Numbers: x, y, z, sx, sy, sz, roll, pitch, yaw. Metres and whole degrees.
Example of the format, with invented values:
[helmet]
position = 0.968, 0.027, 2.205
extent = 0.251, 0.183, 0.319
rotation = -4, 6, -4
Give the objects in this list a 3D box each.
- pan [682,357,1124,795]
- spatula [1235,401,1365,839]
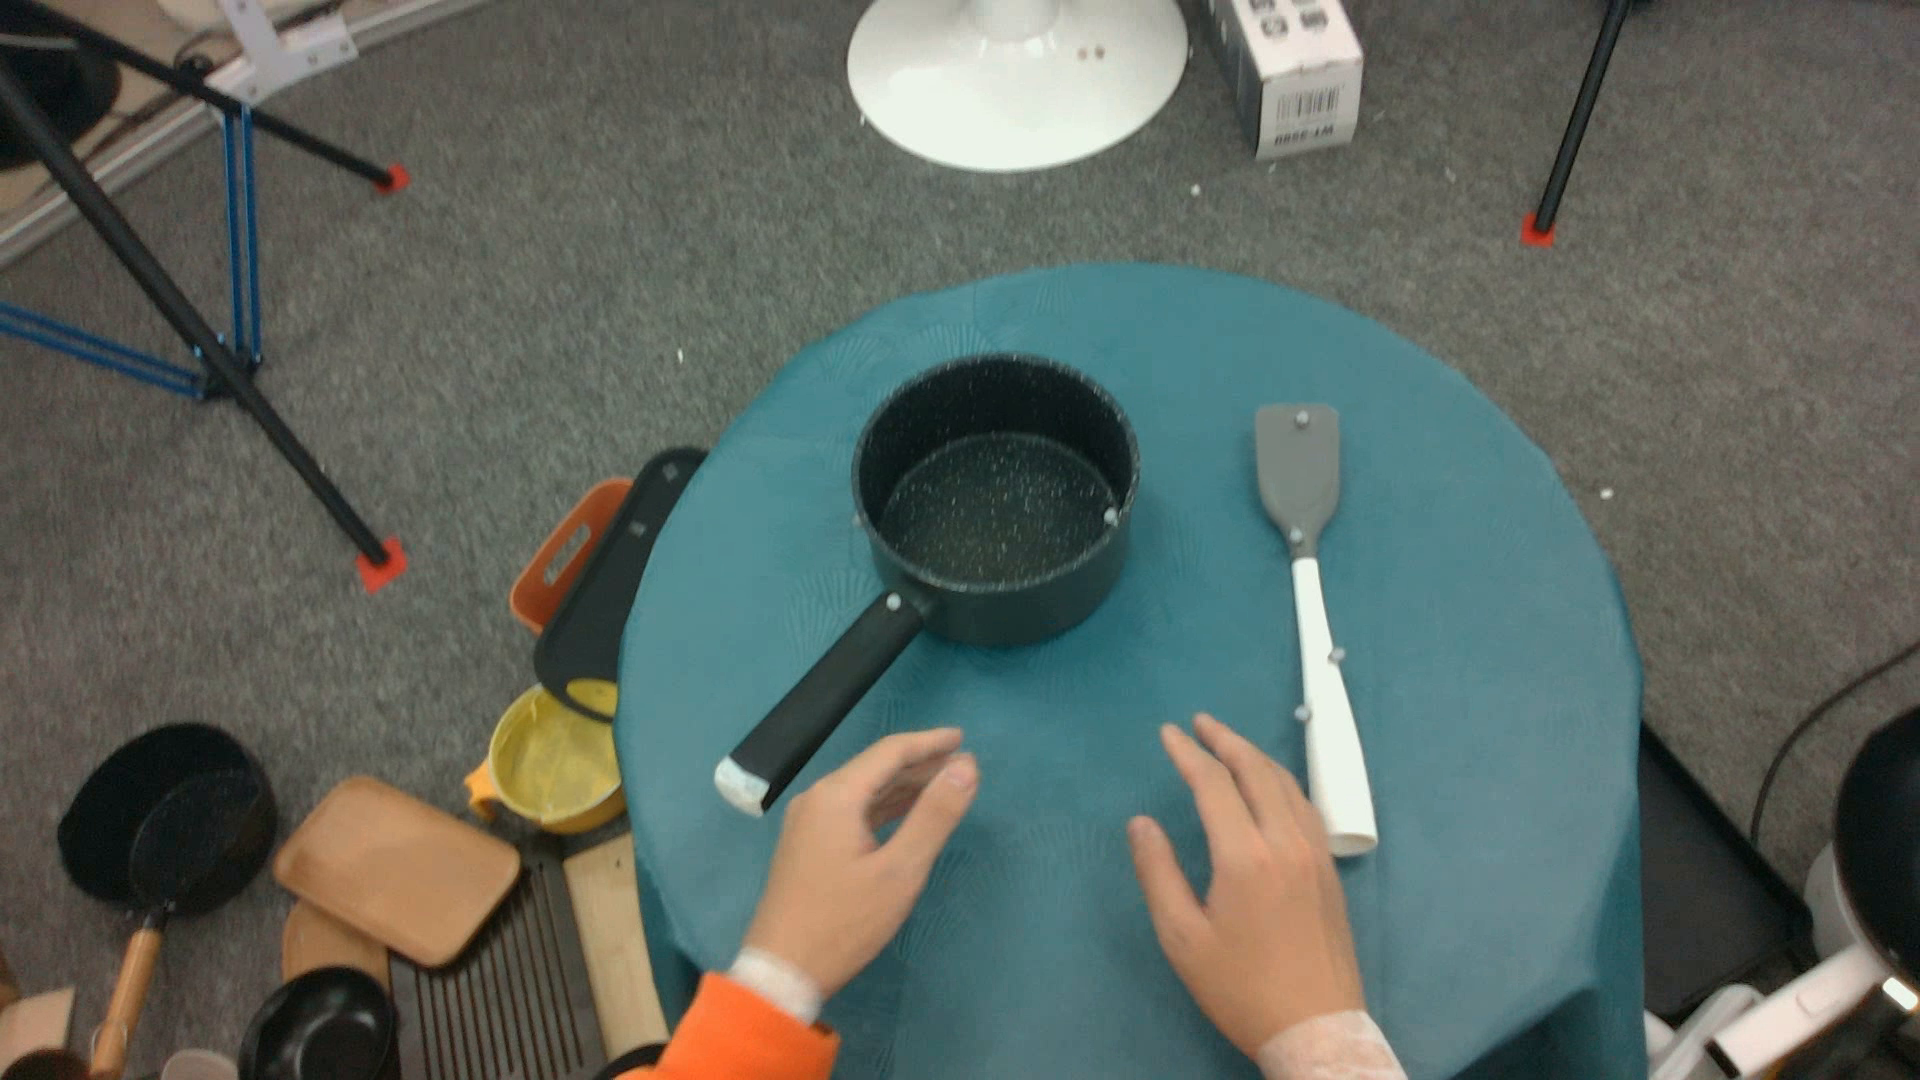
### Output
[pan]
position = -0.033, 0.030, 0.801
extent = 0.172, 0.086, 0.330
rotation = 28, 60, 23
[spatula]
position = 0.201, 0.035, 0.812
extent = 0.058, 0.032, 0.289
rotation = -4, 56, 8
